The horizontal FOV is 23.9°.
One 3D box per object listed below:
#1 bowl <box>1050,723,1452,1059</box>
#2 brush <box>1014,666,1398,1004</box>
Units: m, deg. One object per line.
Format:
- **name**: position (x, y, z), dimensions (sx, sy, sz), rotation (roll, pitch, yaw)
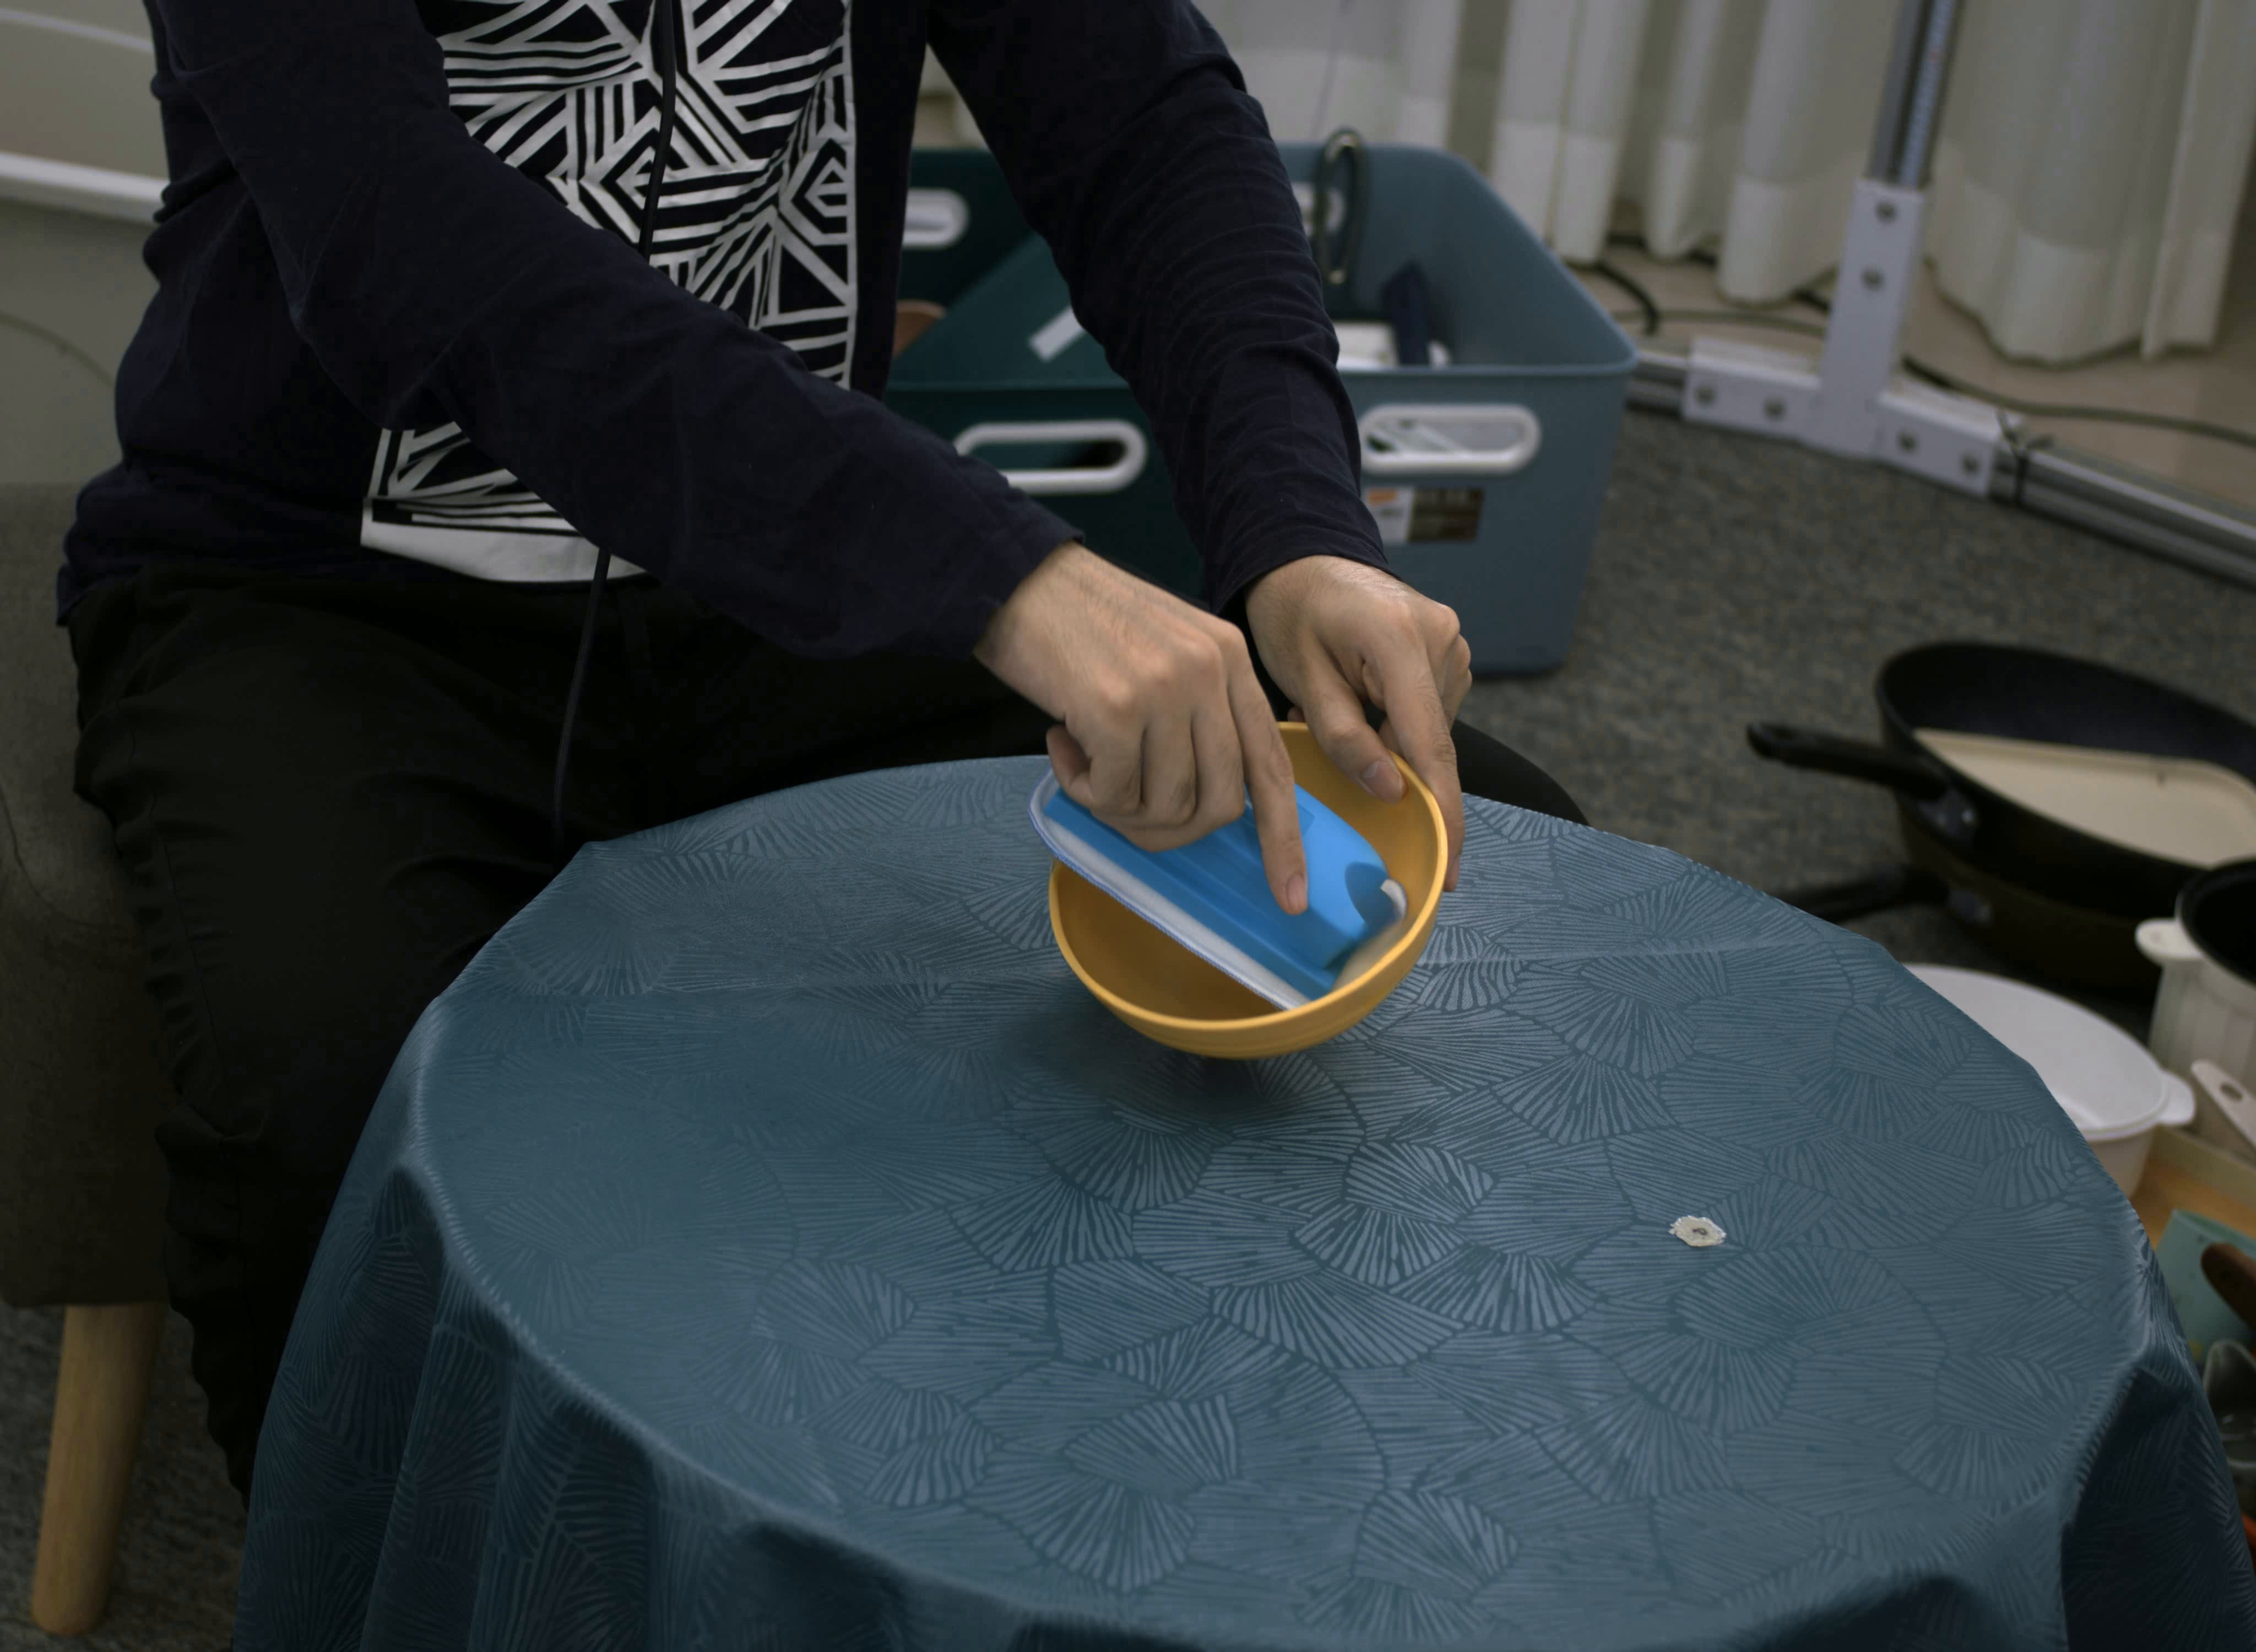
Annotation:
- **bowl**: position (0.047, 0.035, 1.900), dimensions (0.145, 0.059, 0.146), rotation (-6, 45, 6)
- **brush**: position (0.034, -0.003, 1.874), dimensions (0.144, 0.056, 0.084), rotation (38, 43, 2)
